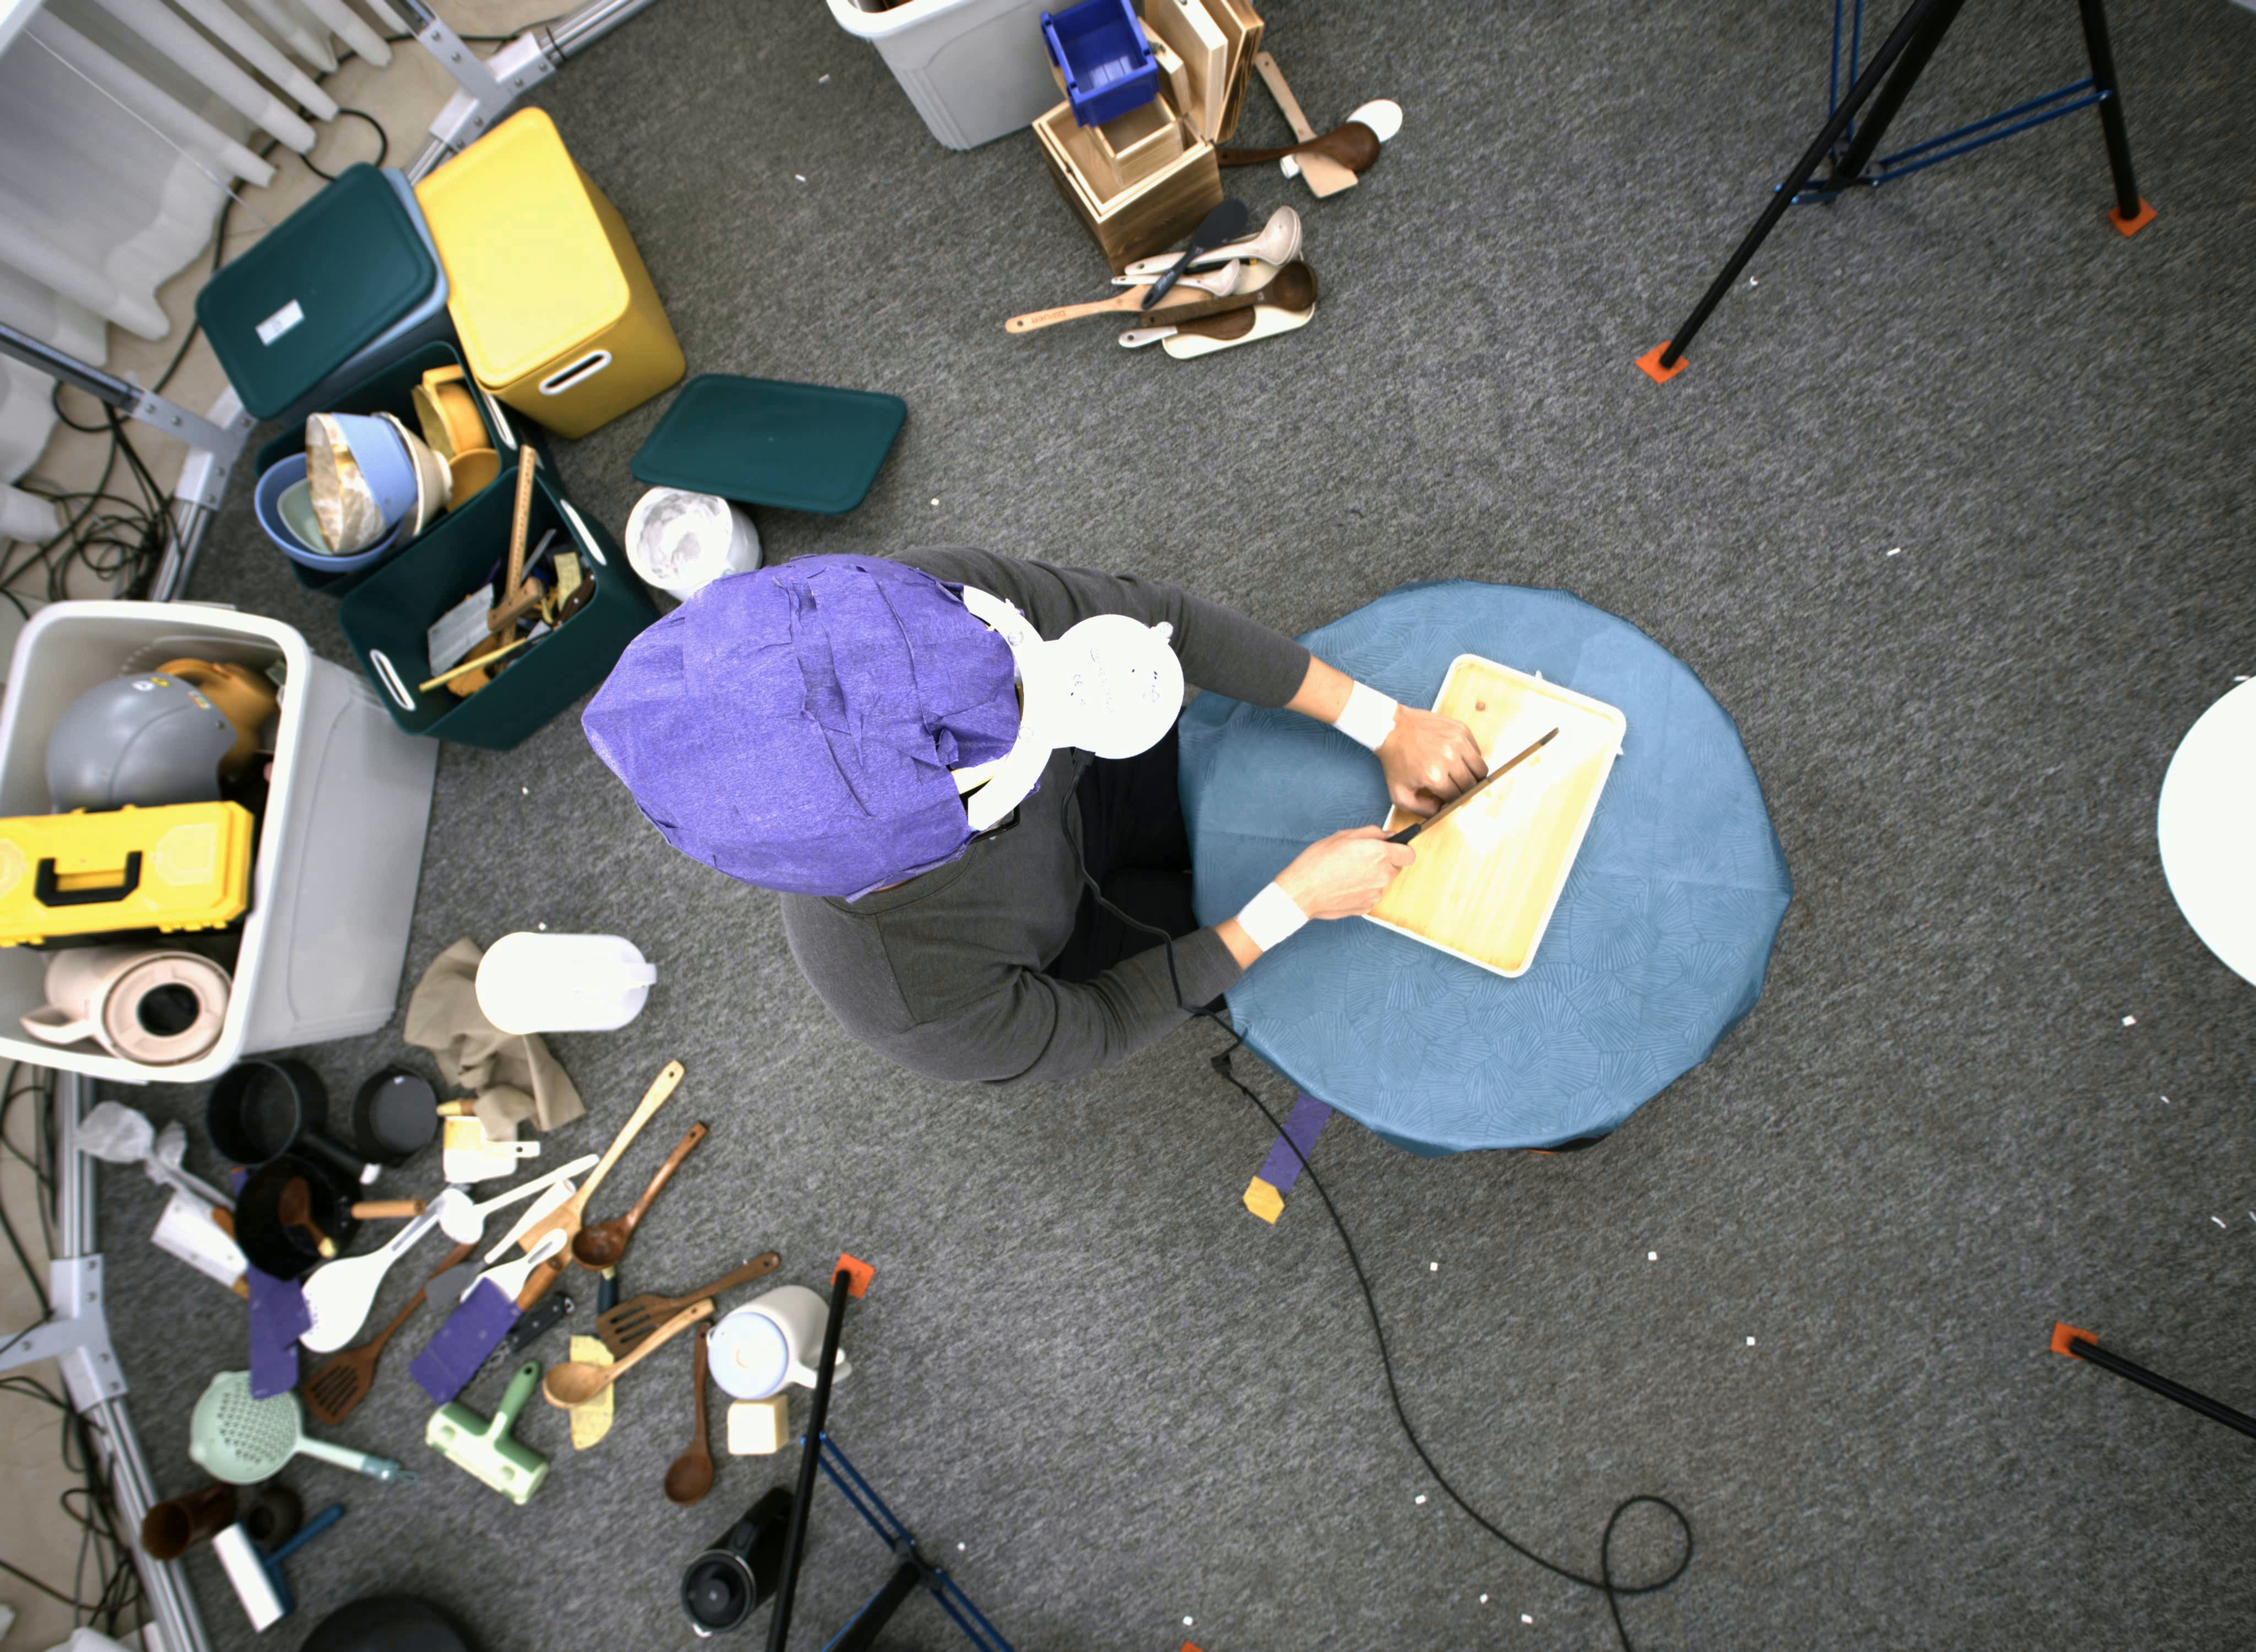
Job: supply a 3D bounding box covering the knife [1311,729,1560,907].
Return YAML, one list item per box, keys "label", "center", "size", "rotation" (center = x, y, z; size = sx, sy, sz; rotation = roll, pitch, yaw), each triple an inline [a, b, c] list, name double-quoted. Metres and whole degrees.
- label: "knife"
  center: [0.313, -0.010, 1.398]
  size: [0.303, 0.081, 0.020]
  rotation: [-34, 76, 3]

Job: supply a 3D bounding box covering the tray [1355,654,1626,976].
- label: "tray"
  center: [0.375, -0.014, 1.431]
  size: [0.191, 0.027, 0.300]
  rotation: [23, 91, 11]
